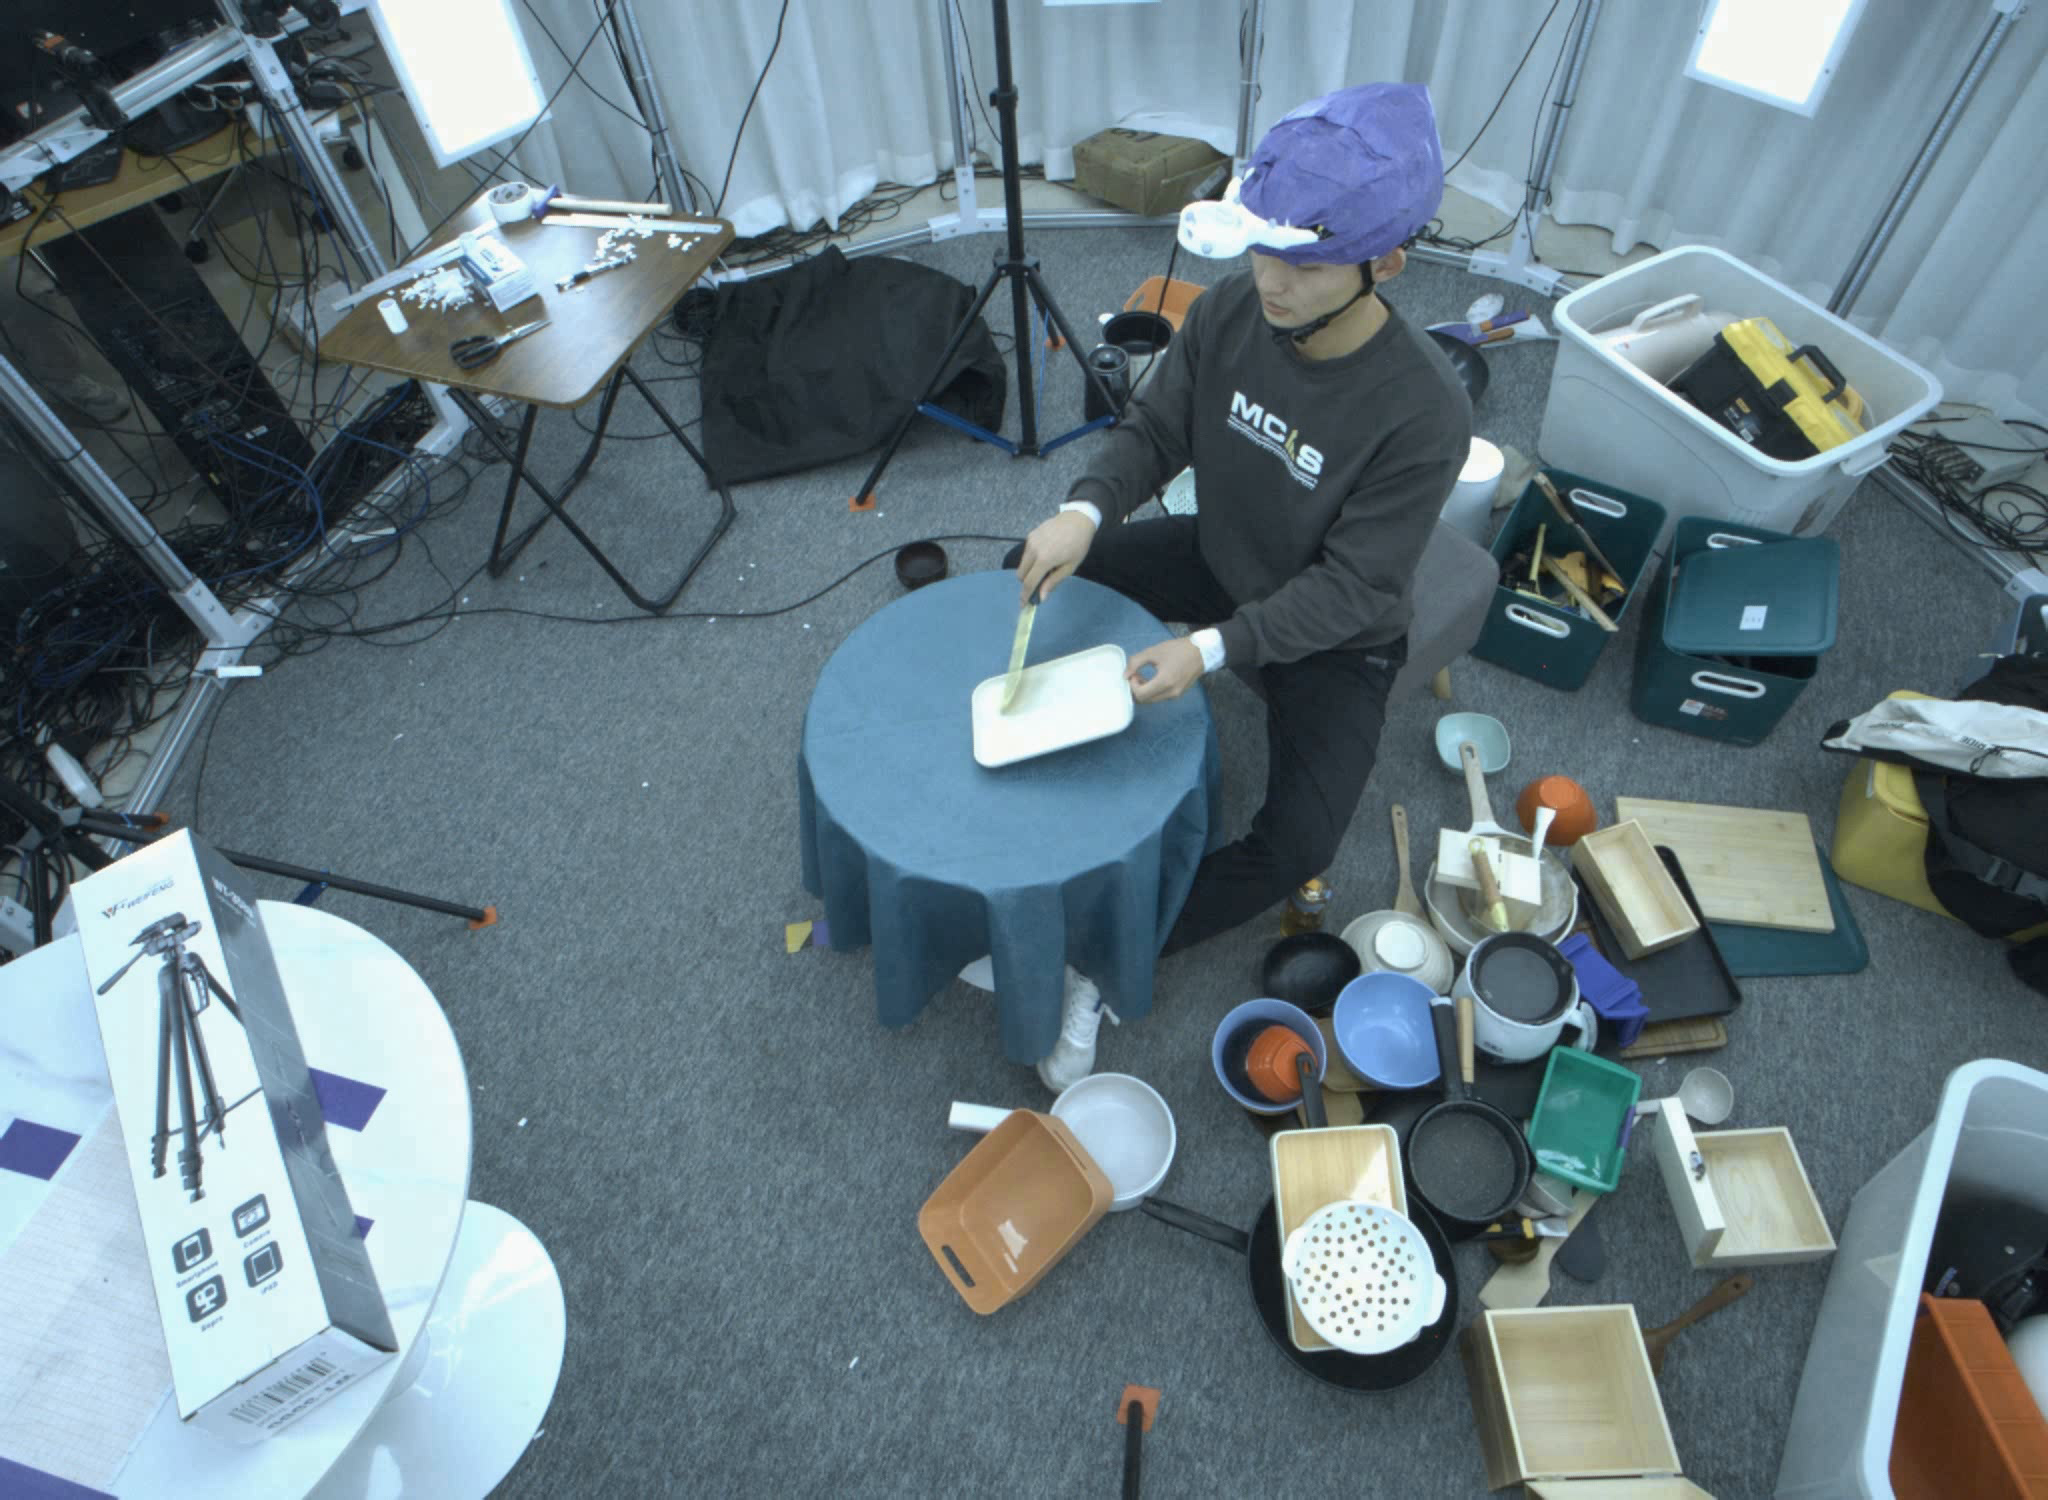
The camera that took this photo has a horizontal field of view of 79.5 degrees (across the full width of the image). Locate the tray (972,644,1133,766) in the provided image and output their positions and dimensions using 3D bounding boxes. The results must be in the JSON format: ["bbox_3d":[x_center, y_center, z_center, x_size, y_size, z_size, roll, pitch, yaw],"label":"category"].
[{"bbox_3d":[0.039,-0.064,1.787,0.238,0.018,0.169,-15,48,11],"label":"tray"}]

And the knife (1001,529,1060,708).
[{"bbox_3d":[0.006,-0.196,1.833,0.027,0.080,0.289,20,76,-18],"label":"knife"}]
